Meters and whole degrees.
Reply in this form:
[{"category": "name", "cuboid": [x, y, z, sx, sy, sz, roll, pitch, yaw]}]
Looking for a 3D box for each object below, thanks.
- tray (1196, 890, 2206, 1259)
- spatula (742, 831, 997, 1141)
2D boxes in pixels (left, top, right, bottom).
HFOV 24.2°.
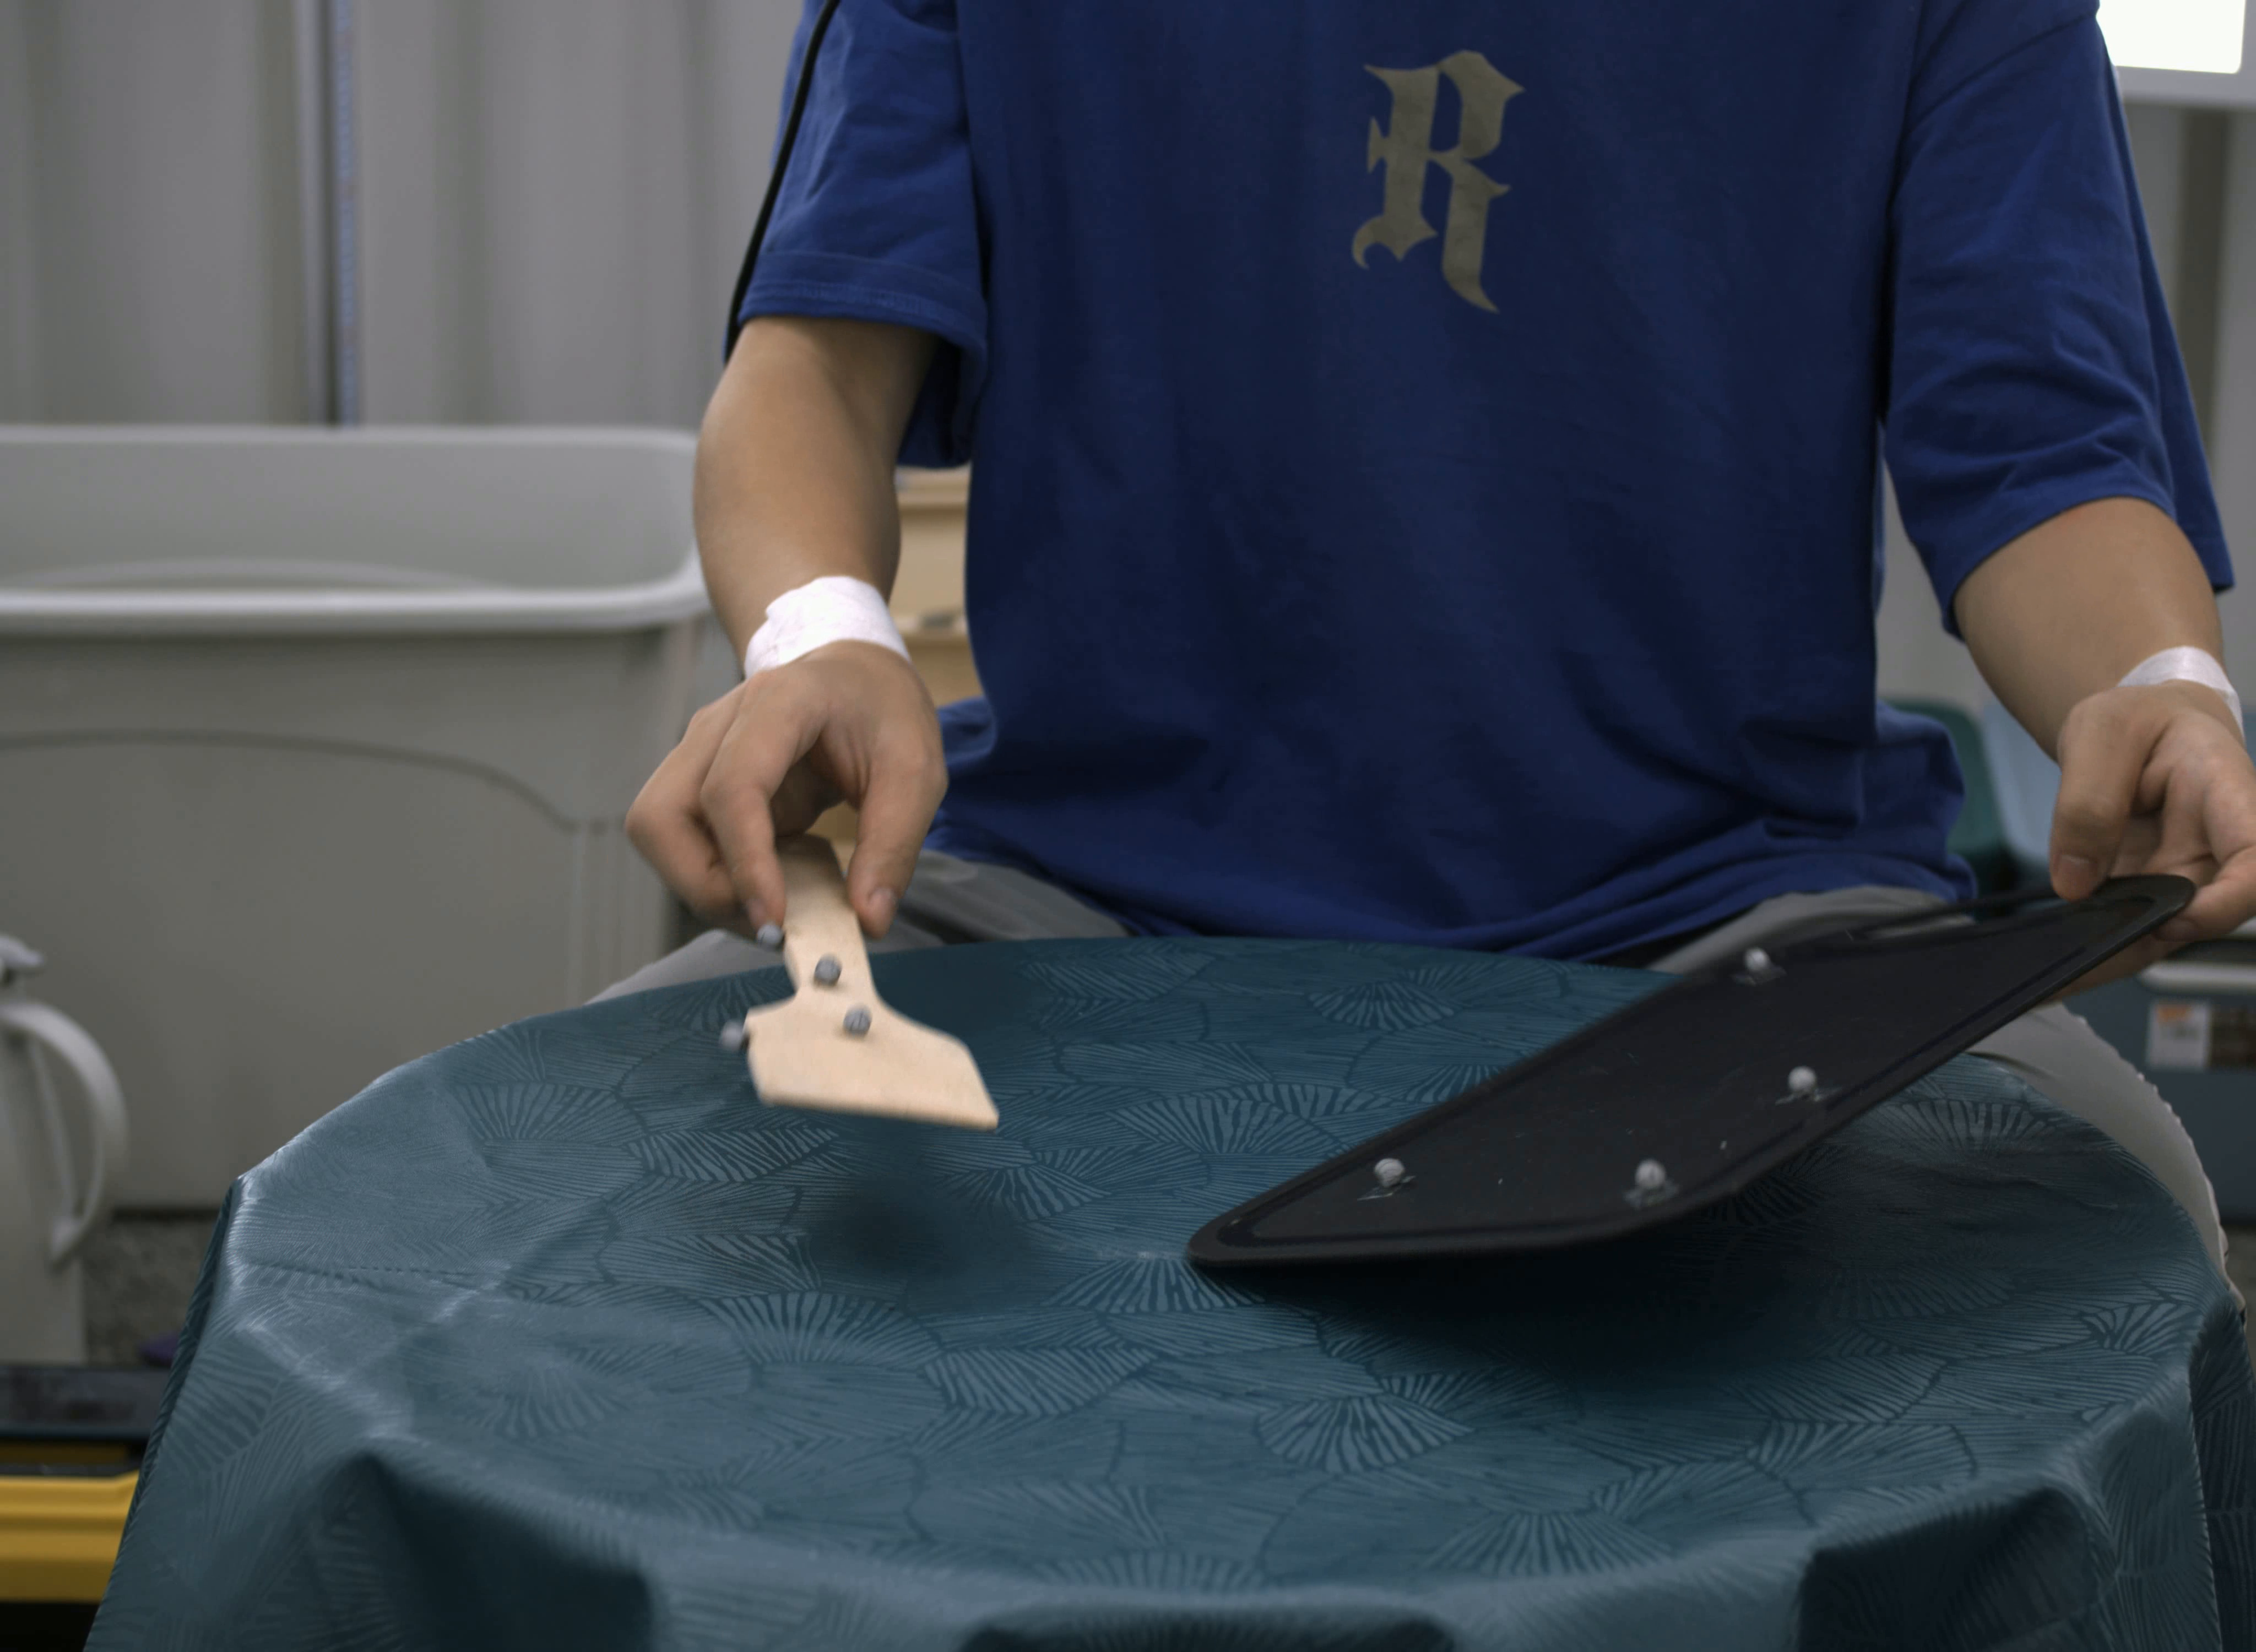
[{"category": "tray", "cuboid": [0.181, 0.071, 1.602, 0.326, 0.010, 0.209, -23, 9, -42]}, {"category": "spatula", "cuboid": [-0.095, 0.047, 1.665, 0.072, 0.011, 0.290, 6, 16, -11]}]
